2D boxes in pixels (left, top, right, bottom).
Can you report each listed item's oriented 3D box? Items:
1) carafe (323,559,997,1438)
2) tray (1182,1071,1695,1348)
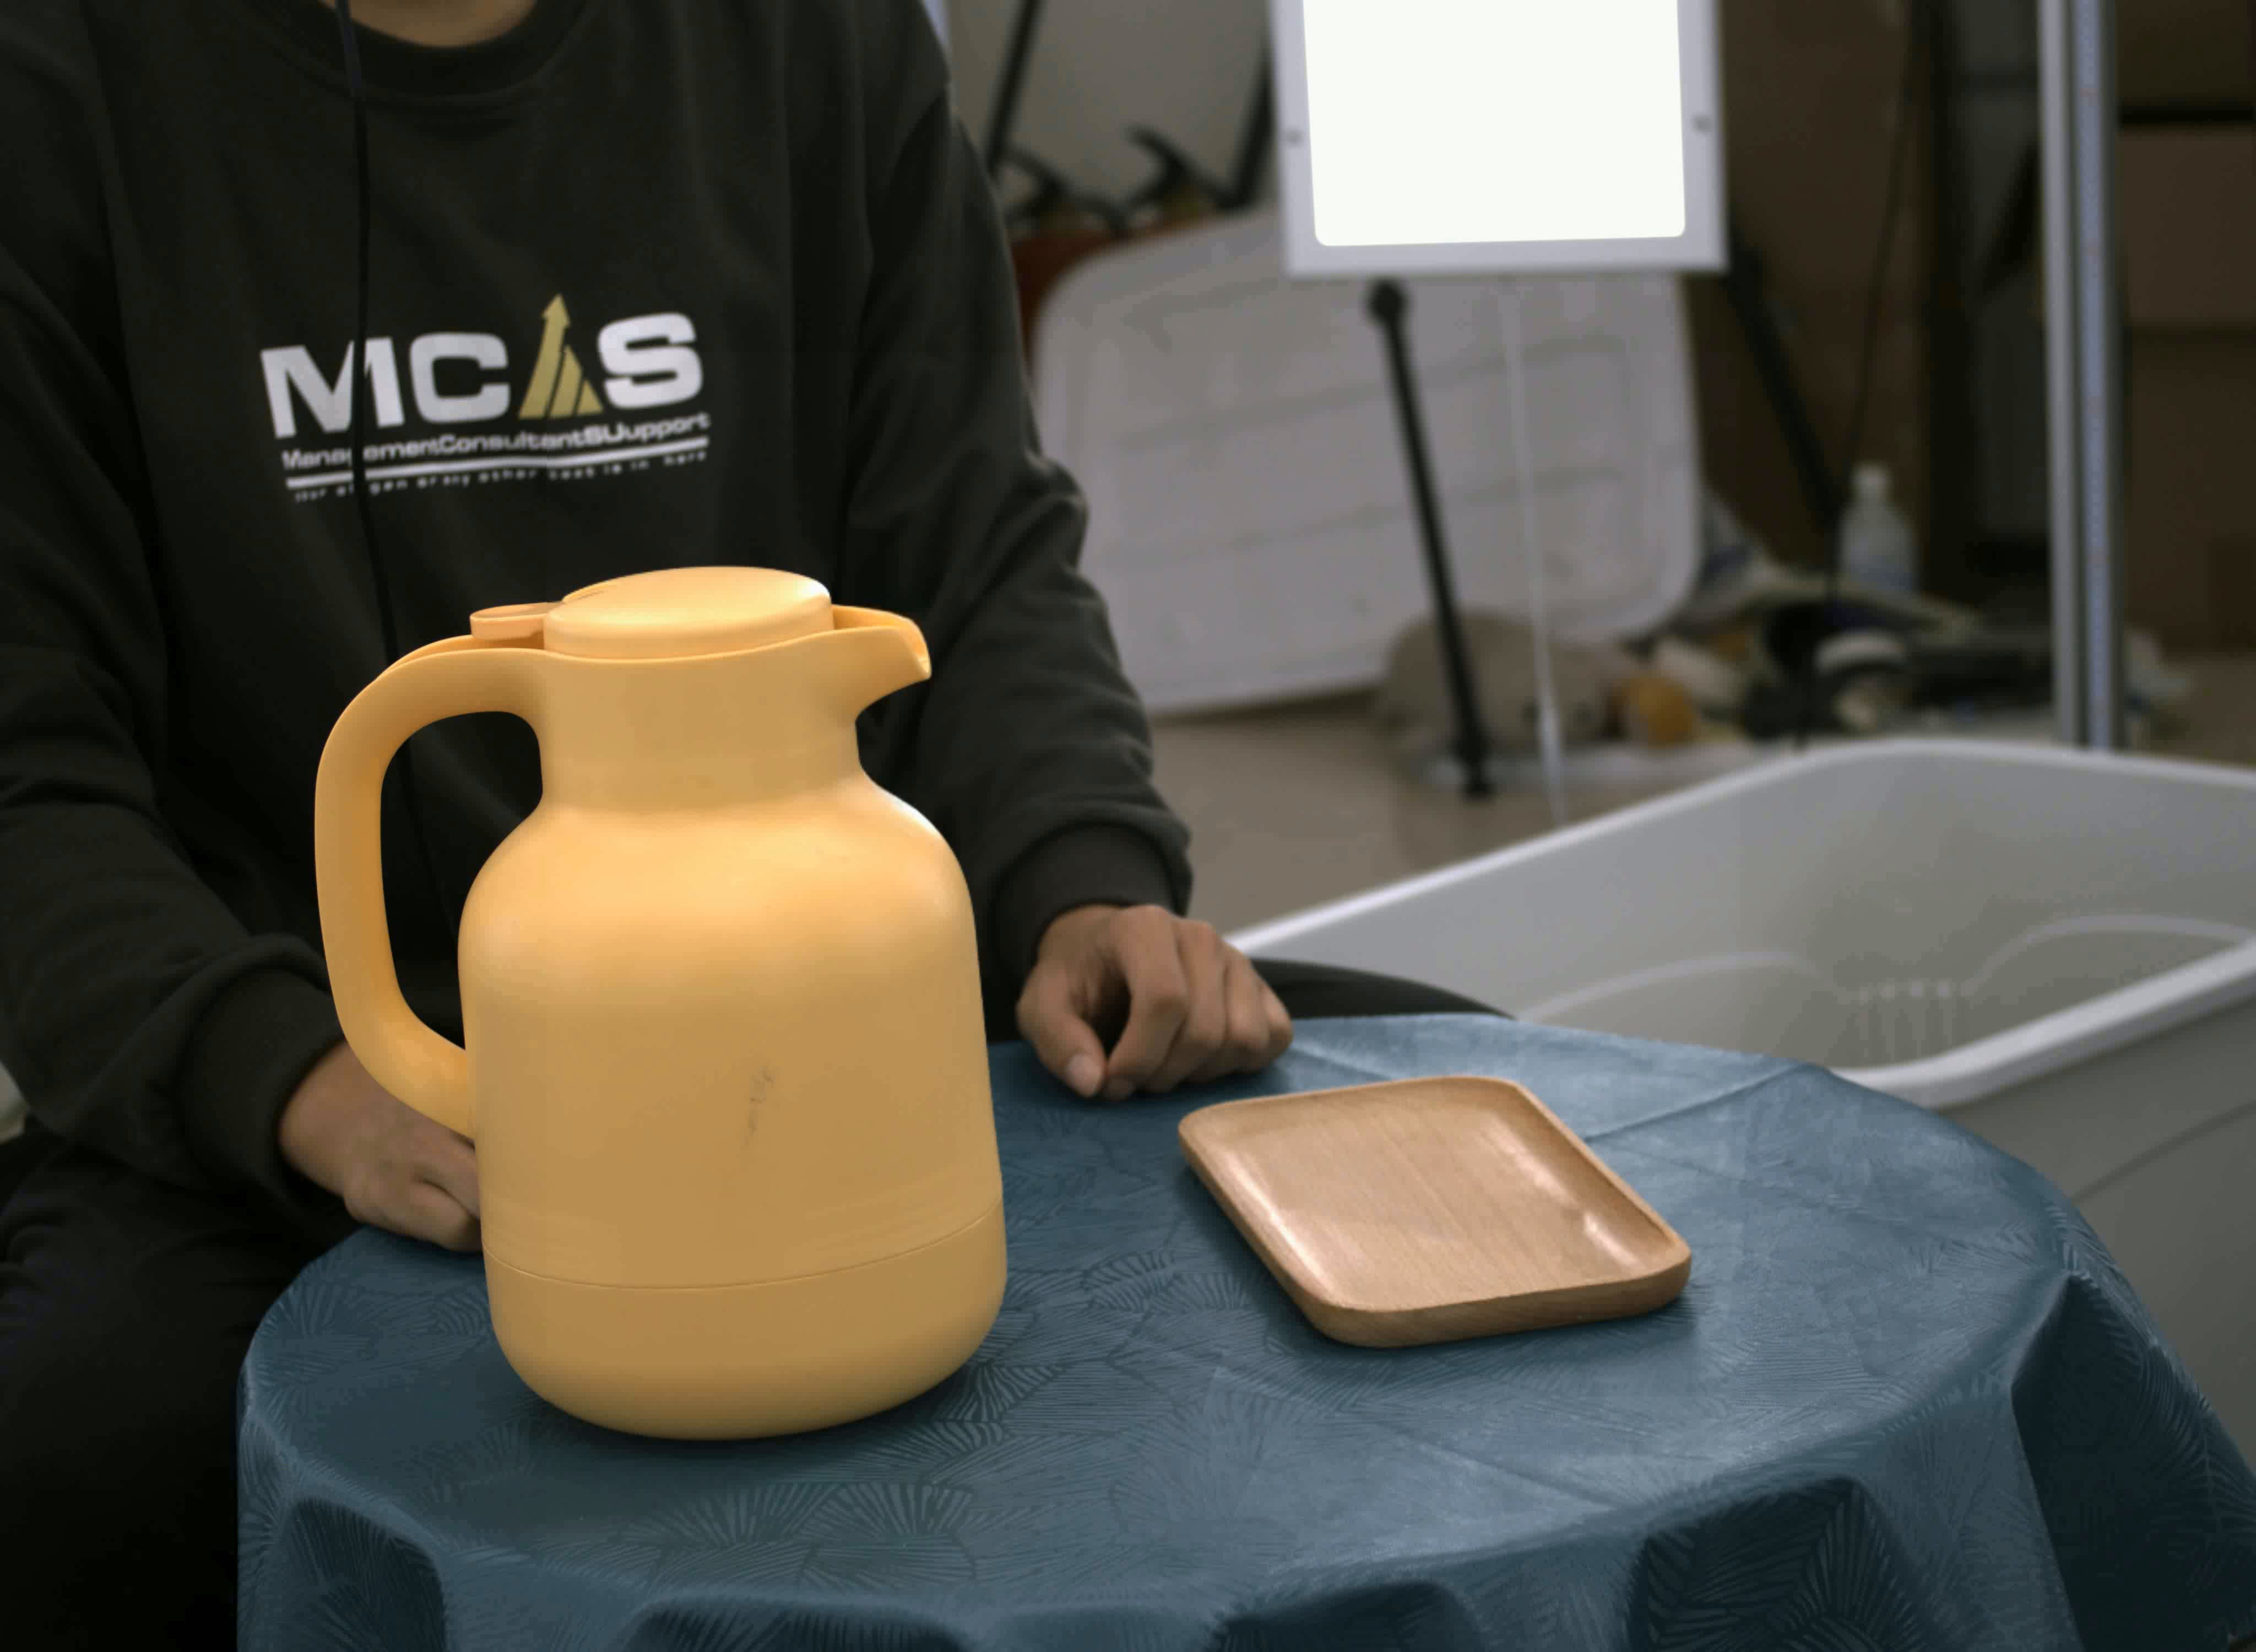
[{"bbox_3d":[-0.145,0.049,1.711,0.203,0.261,0.162,-1,11,10],"label":"carafe"},{"bbox_3d":[0.100,0.125,1.833,0.129,0.023,0.252,-5,12,-9],"label":"tray"}]
